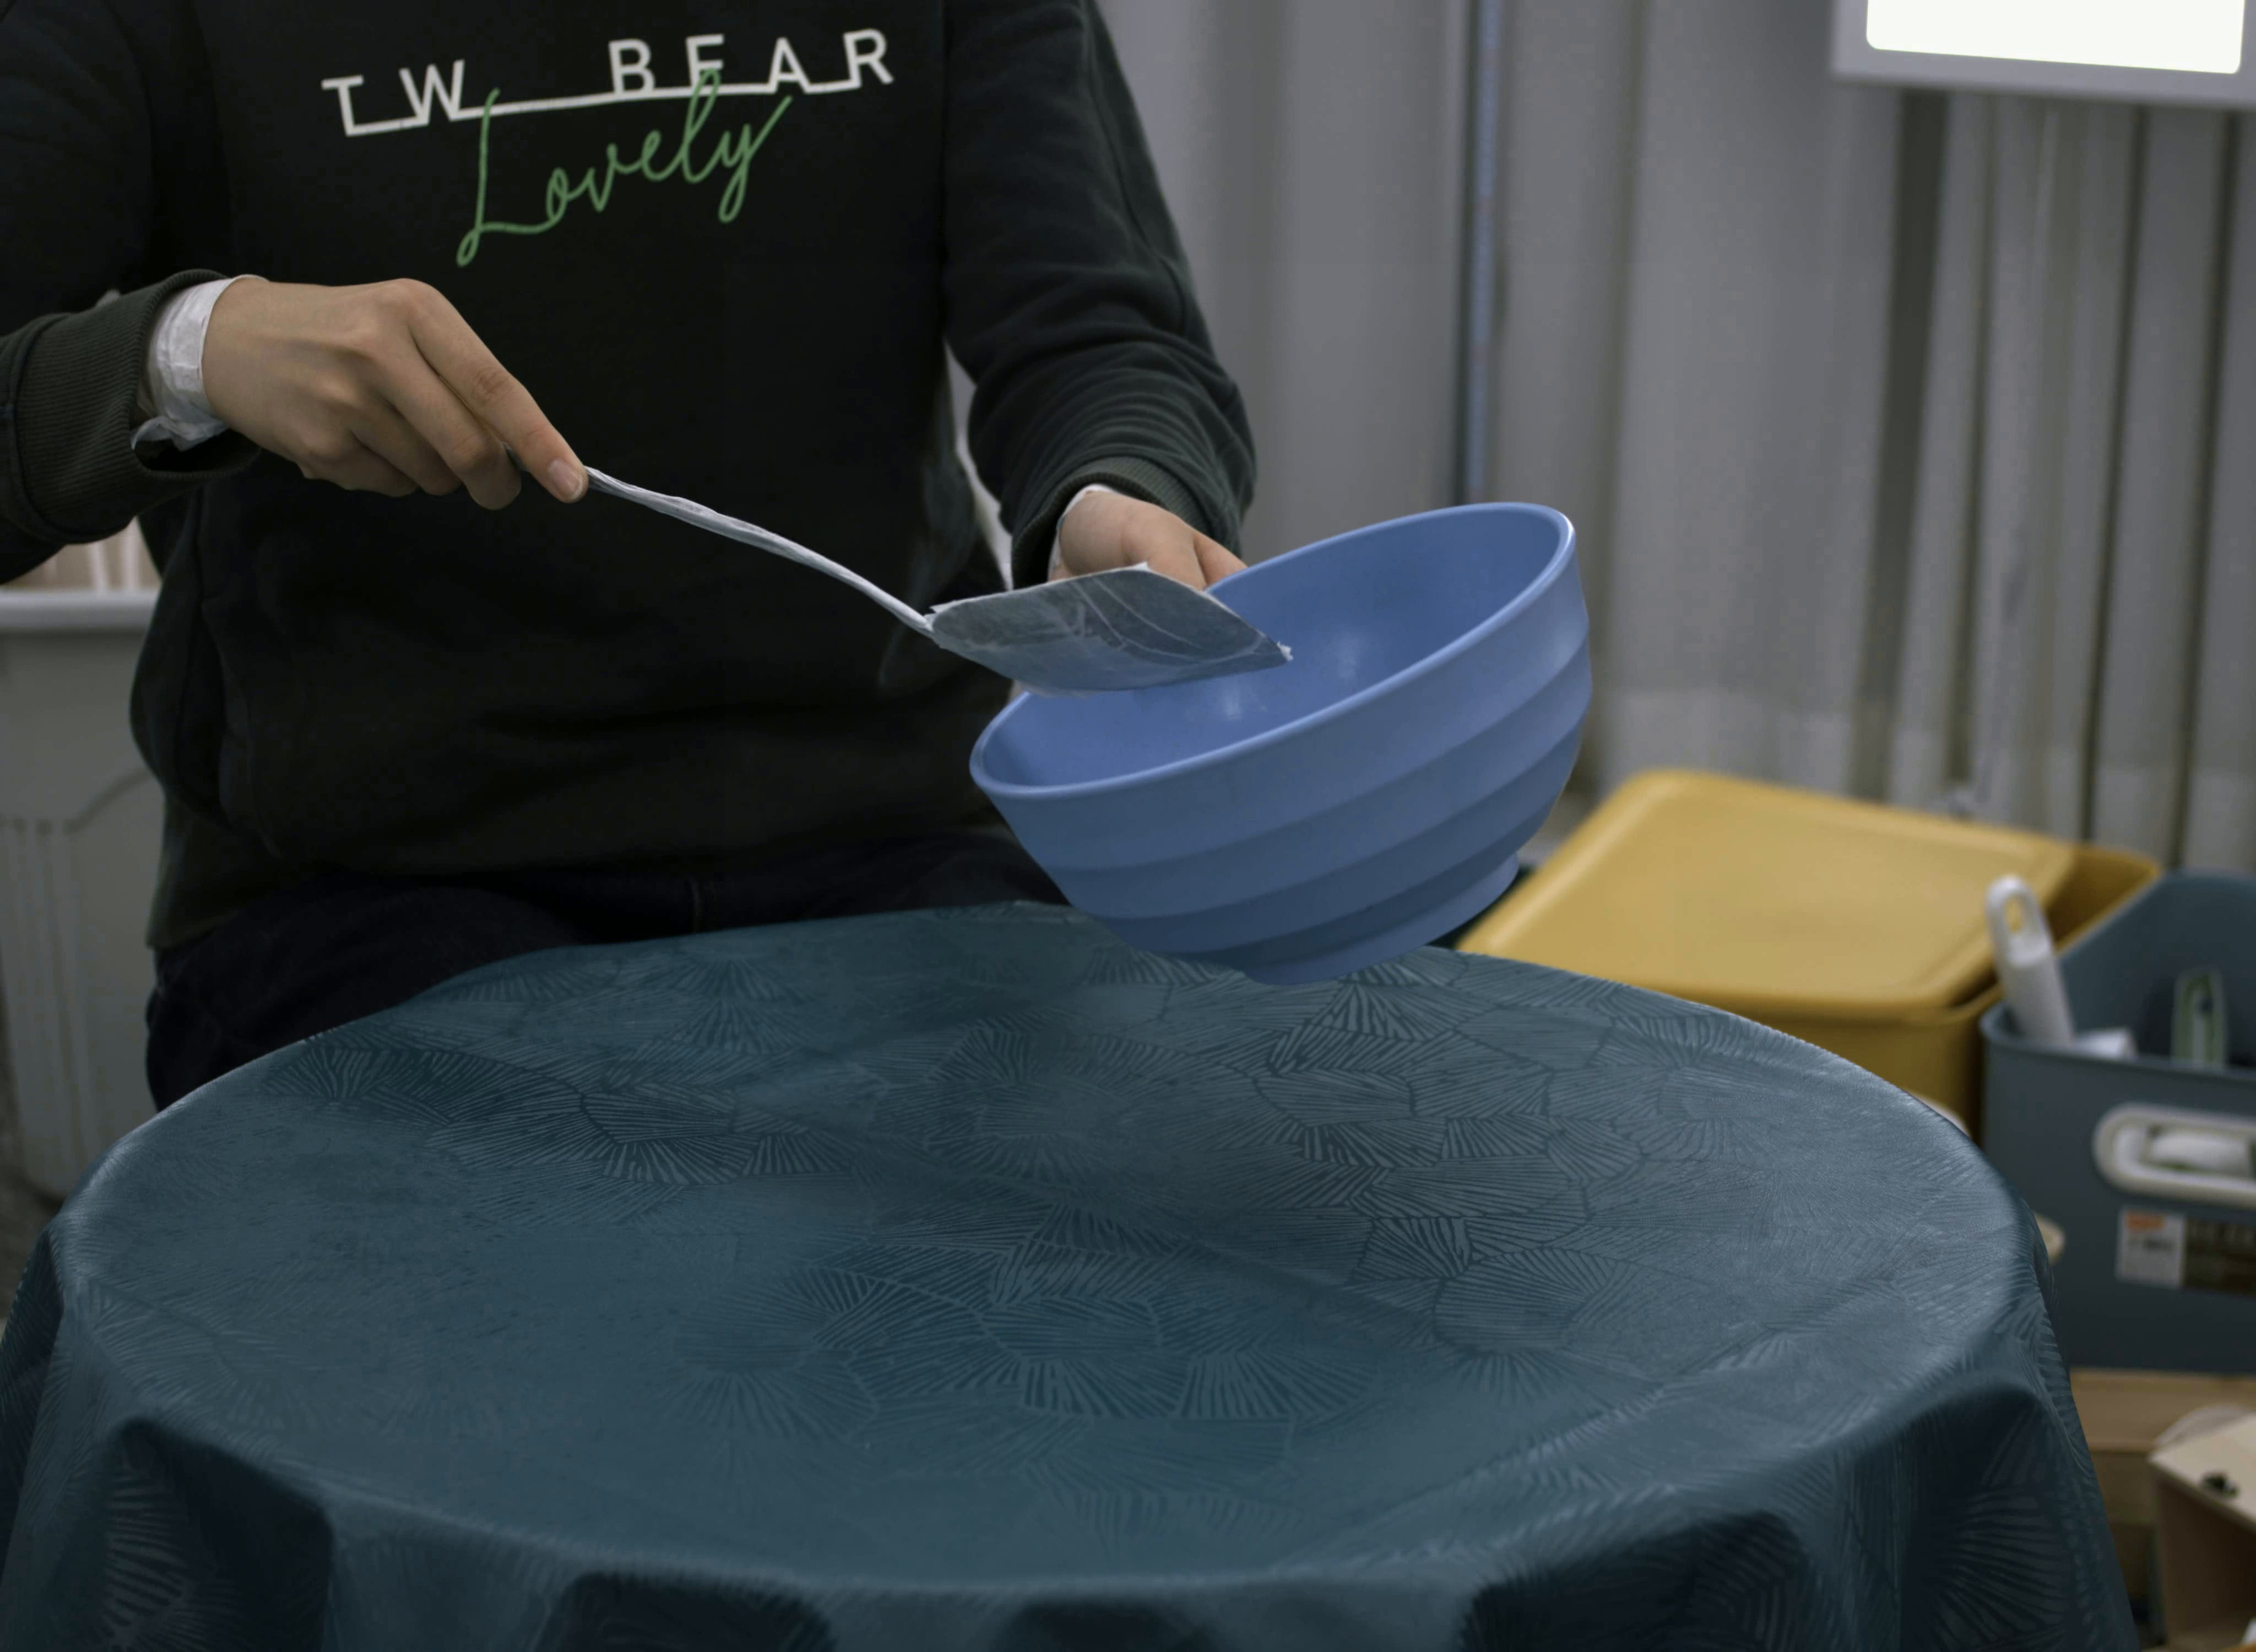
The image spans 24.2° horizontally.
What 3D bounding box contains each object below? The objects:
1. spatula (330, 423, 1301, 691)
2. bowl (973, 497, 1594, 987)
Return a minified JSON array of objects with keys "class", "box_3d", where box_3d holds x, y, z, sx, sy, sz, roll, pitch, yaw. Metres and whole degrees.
[{"class":"spatula","box_3d":[-0.113,-0.094,1.634,0.360,0.045,0.100,20,-4,30]},{"class":"bowl","box_3d":[0.060,-0.014,1.598,0.196,0.096,0.195,-22,17,8]}]
